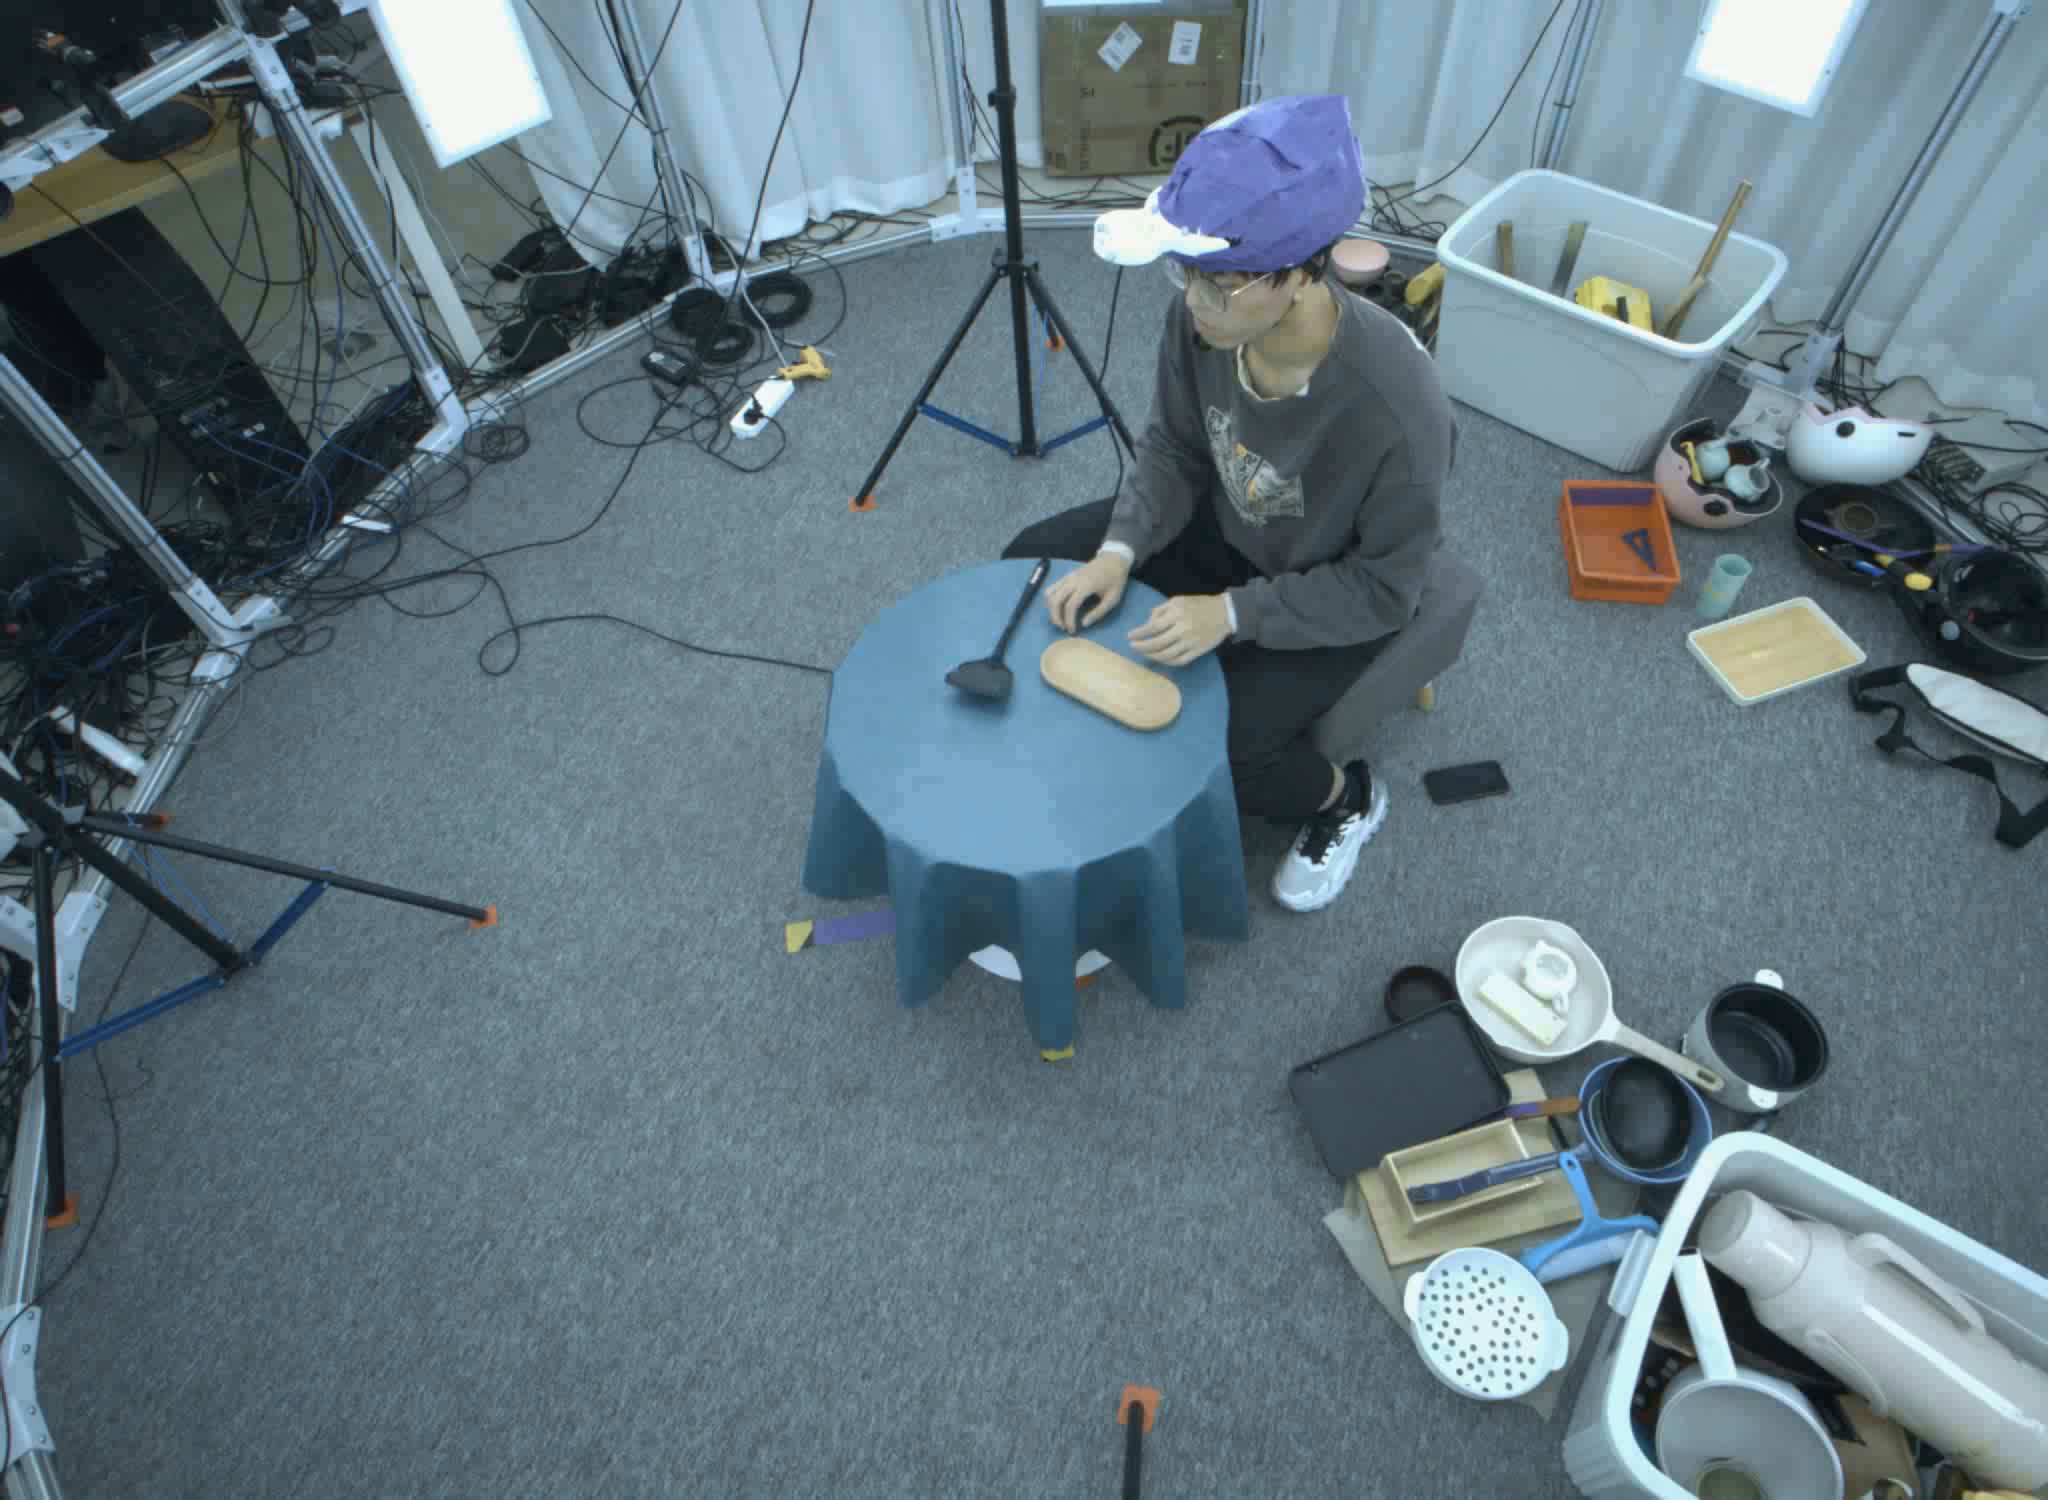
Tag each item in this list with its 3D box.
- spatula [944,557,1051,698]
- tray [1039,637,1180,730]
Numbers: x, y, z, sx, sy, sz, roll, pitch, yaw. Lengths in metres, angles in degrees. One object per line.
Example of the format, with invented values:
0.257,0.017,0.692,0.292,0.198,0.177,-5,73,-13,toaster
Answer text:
-0.020,-0.199,1.906,0.099,0.041,0.326,17,57,12,spatula
0.126,-0.100,1.843,0.227,0.020,0.102,28,60,22,tray
